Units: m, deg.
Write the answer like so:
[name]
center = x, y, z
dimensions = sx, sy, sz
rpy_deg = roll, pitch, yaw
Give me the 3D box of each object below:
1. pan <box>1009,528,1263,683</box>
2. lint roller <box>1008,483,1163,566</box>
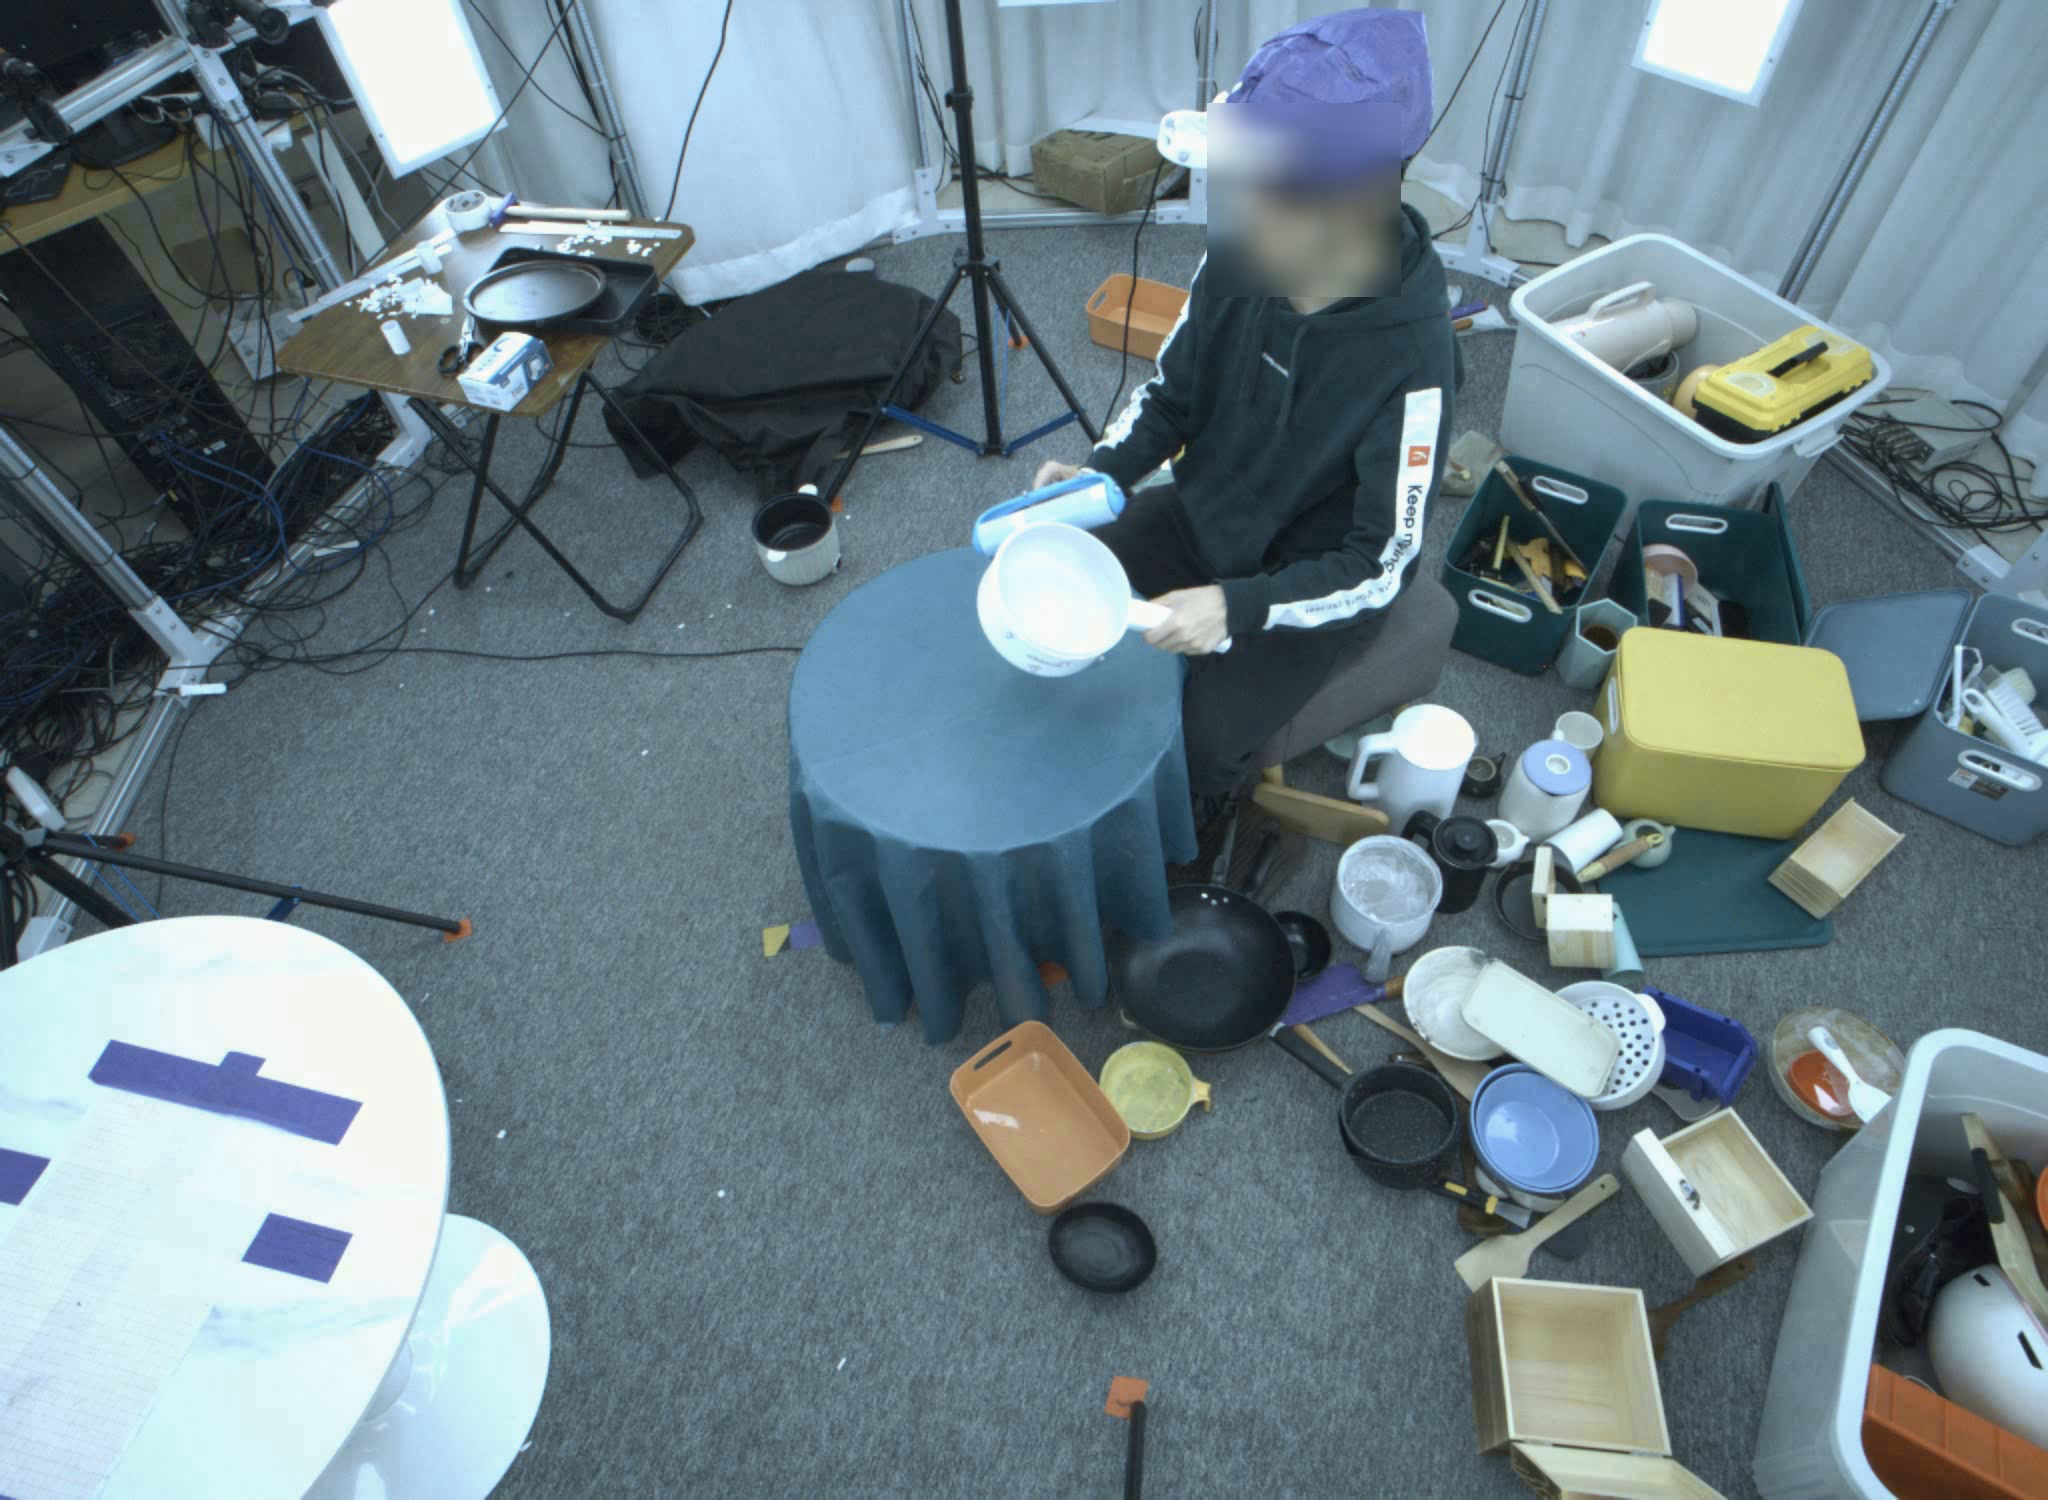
[pan]
center = 0.150, -0.171, 1.682
dimensions = 0.360, 0.101, 0.200
rpy_deg = 15, 67, -19
[lint roller]
center = 0.091, -0.339, 1.760
dimensions = 0.227, 0.069, 0.179
rpy_deg = -16, 27, 16
